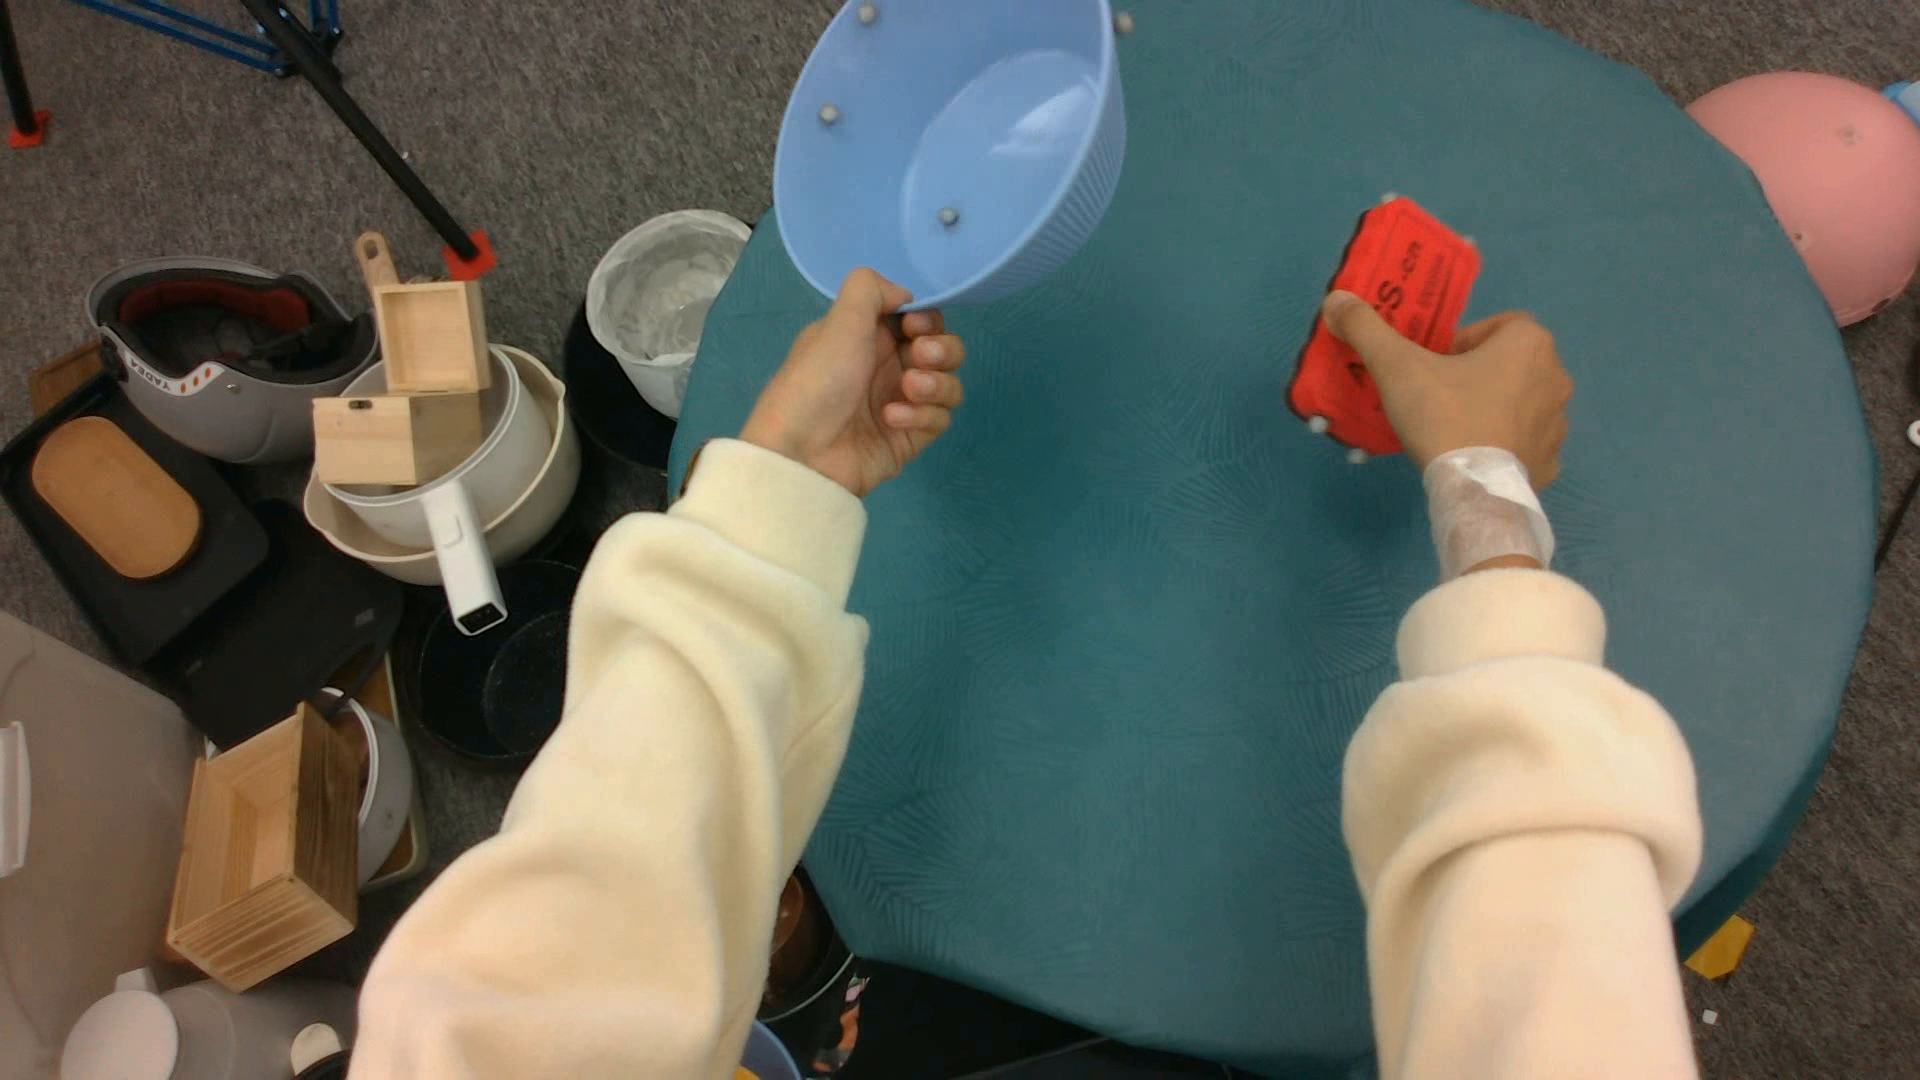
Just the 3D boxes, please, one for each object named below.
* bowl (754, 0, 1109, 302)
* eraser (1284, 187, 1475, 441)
[{"bbox_3d":[-0.003,-0.176,0.617,0.175,0.070,0.176,-9,71,26],"label":"bowl"},{"bbox_3d":[0.193,-0.103,0.633,0.059,0.023,0.108,24,83,-17],"label":"eraser"}]
